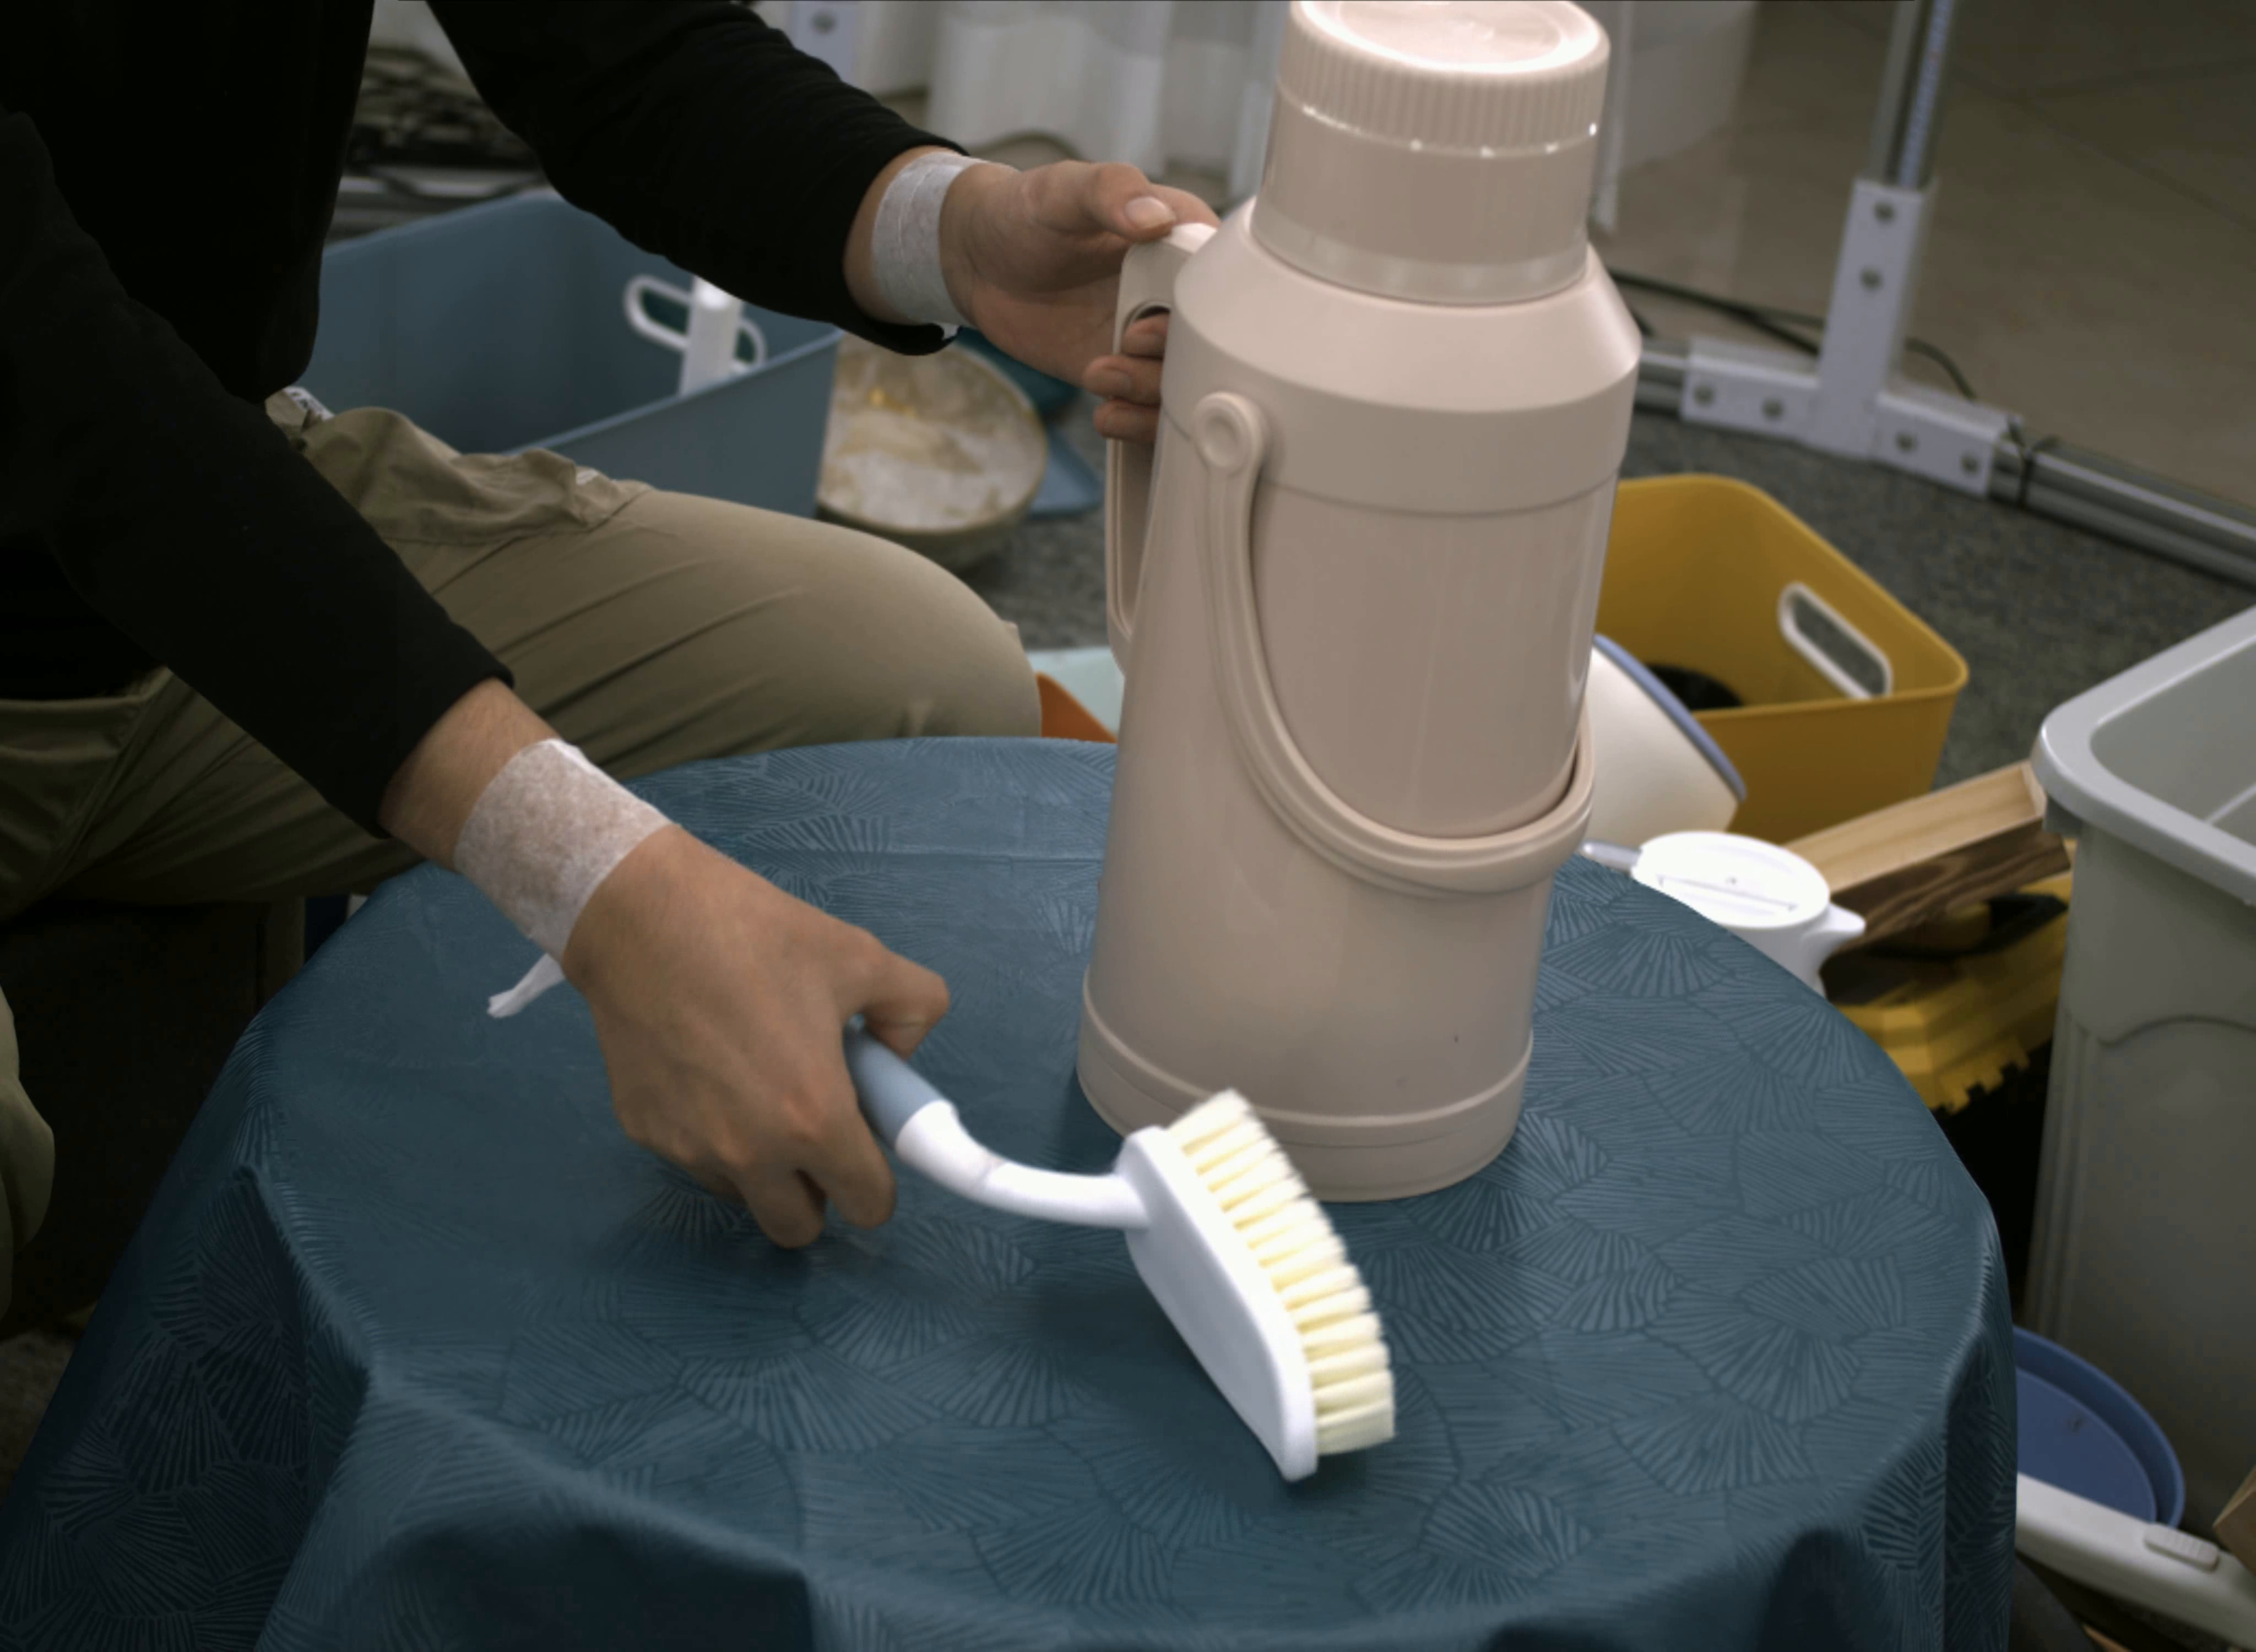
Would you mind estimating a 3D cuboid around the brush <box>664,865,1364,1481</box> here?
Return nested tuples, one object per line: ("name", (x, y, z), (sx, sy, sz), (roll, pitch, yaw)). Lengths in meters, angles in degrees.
("brush", (-0.027, 0.091, 1.732), (0.084, 0.083, 0.328), (3, 31, -50))

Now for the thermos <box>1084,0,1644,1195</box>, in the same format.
("thermos", (0.073, -0.090, 1.801), (0.208, 0.405, 0.174), (28, 35, 35))
